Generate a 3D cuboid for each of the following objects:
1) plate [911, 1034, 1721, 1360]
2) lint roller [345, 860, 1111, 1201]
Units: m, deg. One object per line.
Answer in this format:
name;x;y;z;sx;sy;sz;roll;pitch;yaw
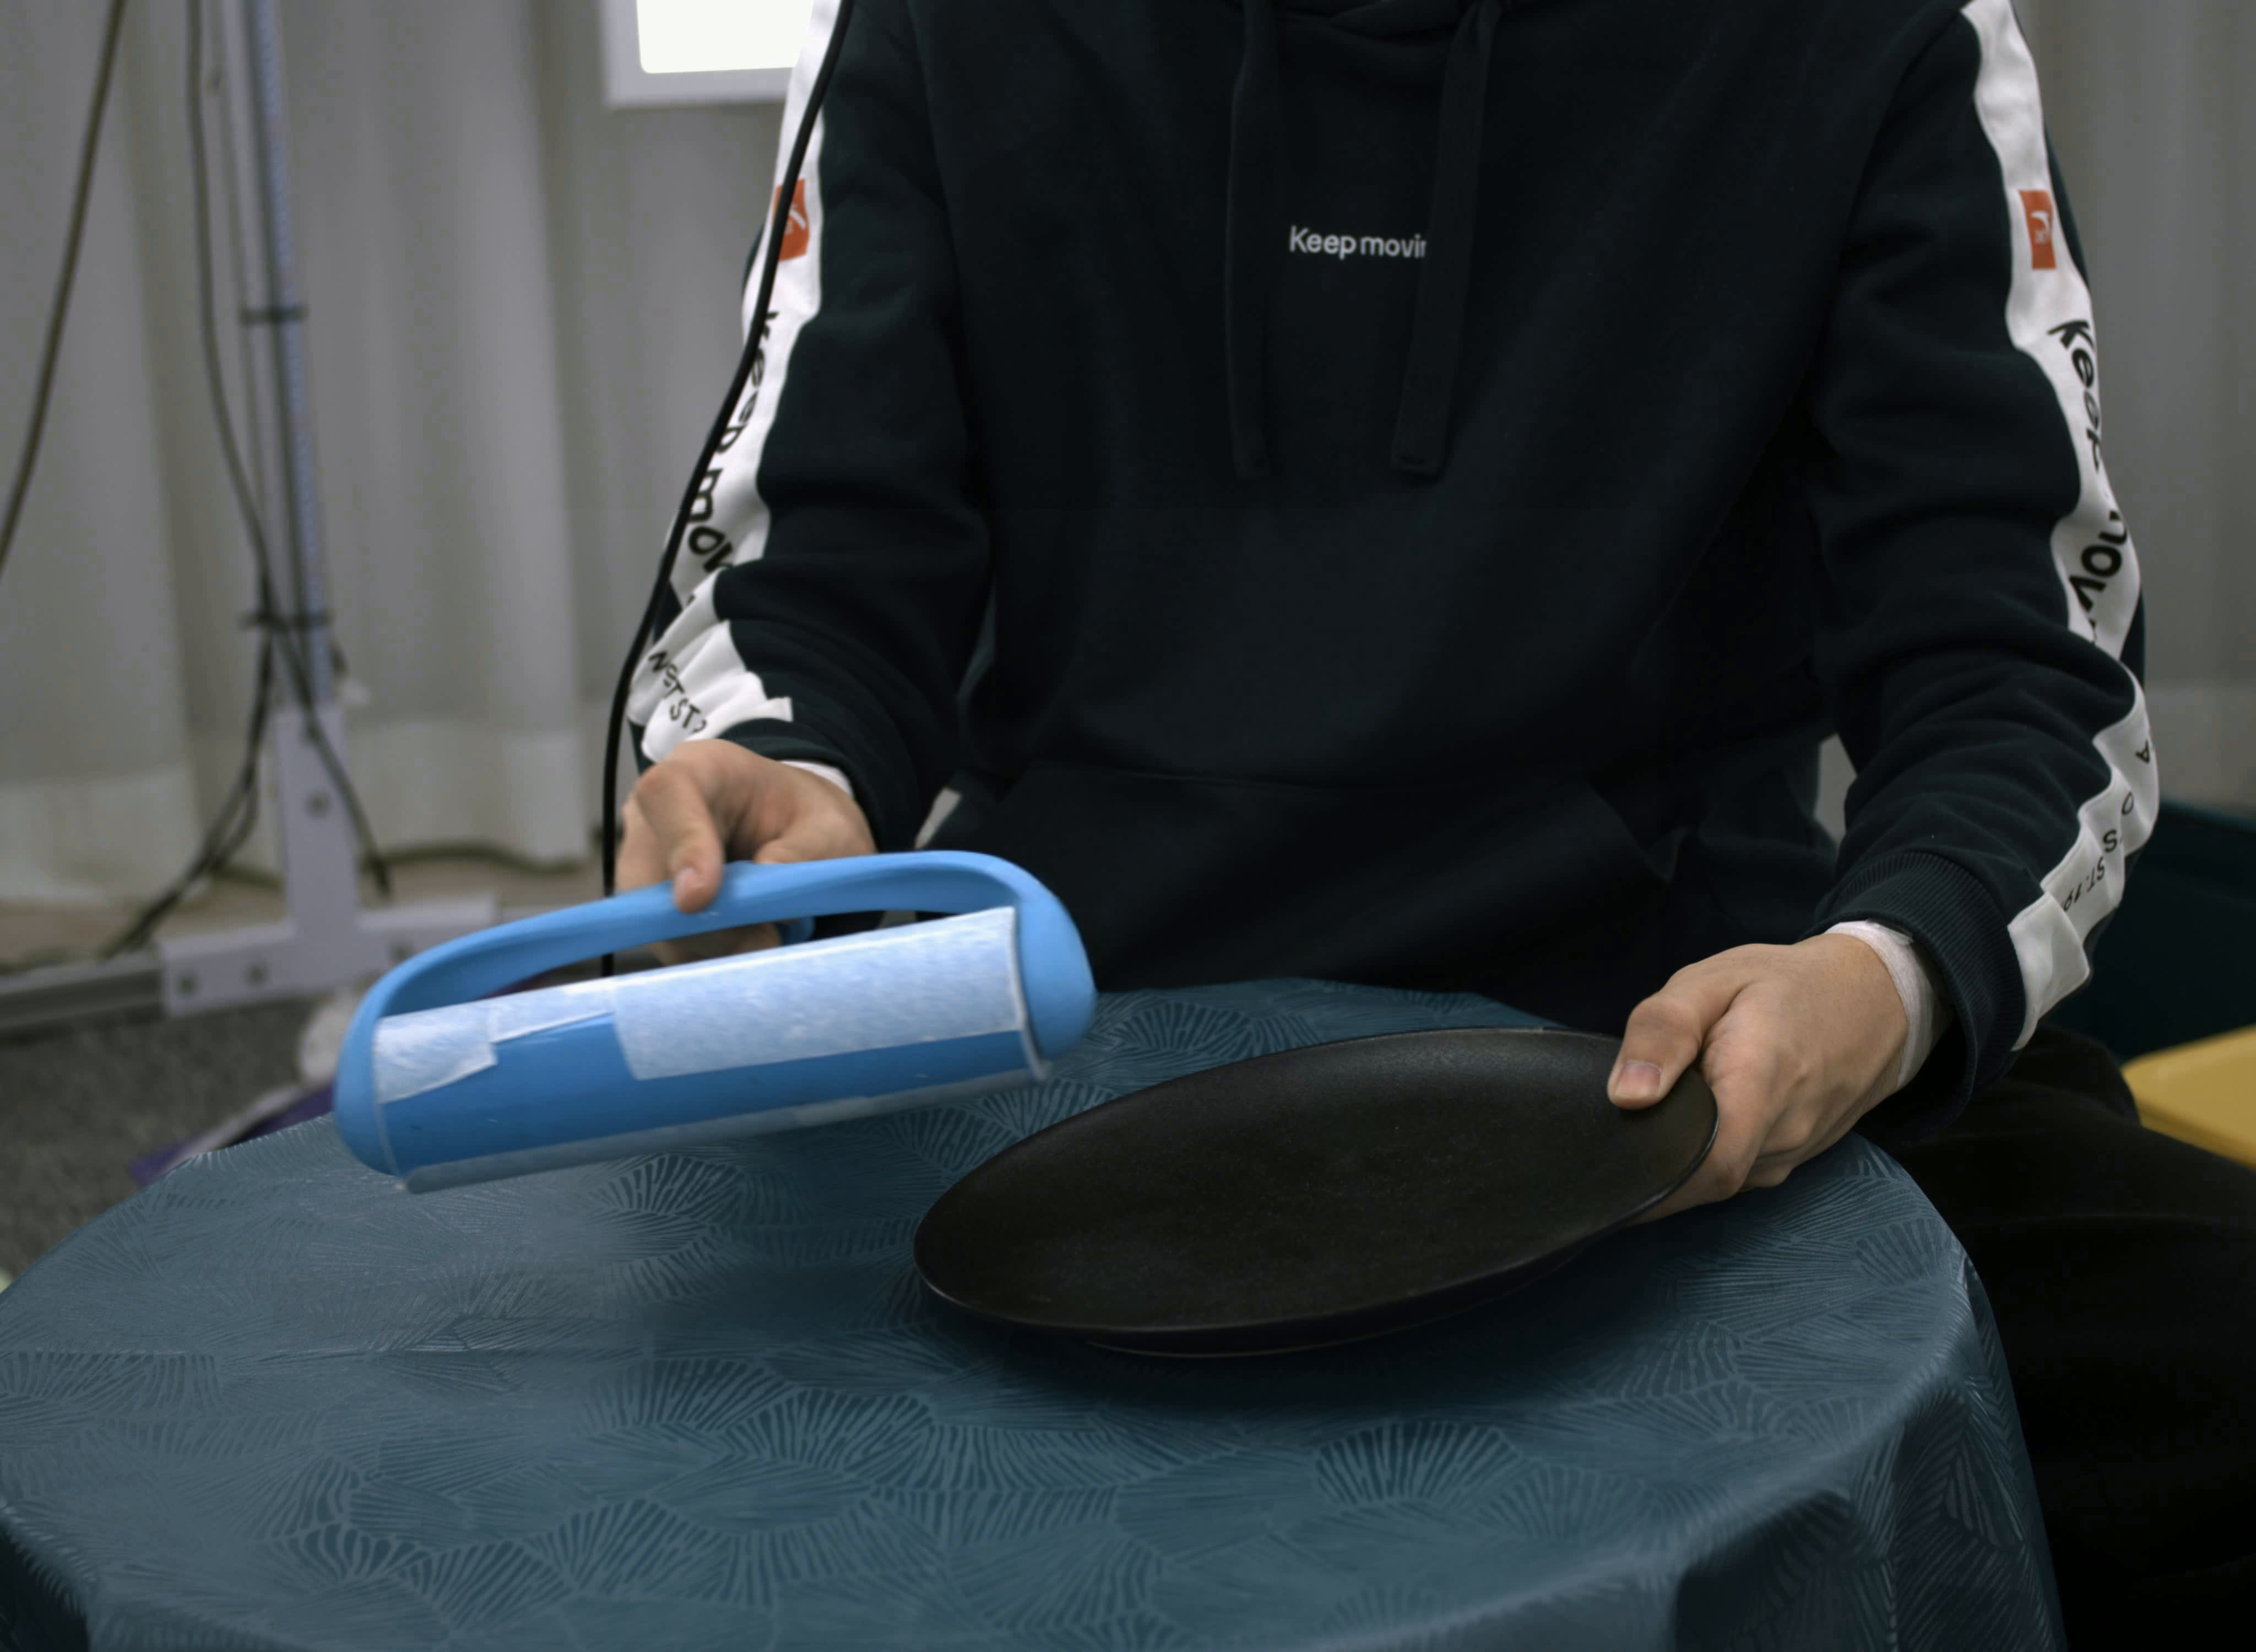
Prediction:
plate;0.057;0.113;1.622;0.243;0.023;0.246;-10;15;2
lint roller;-0.119;0.047;1.659;0.228;0.067;0.182;-12;18;3
